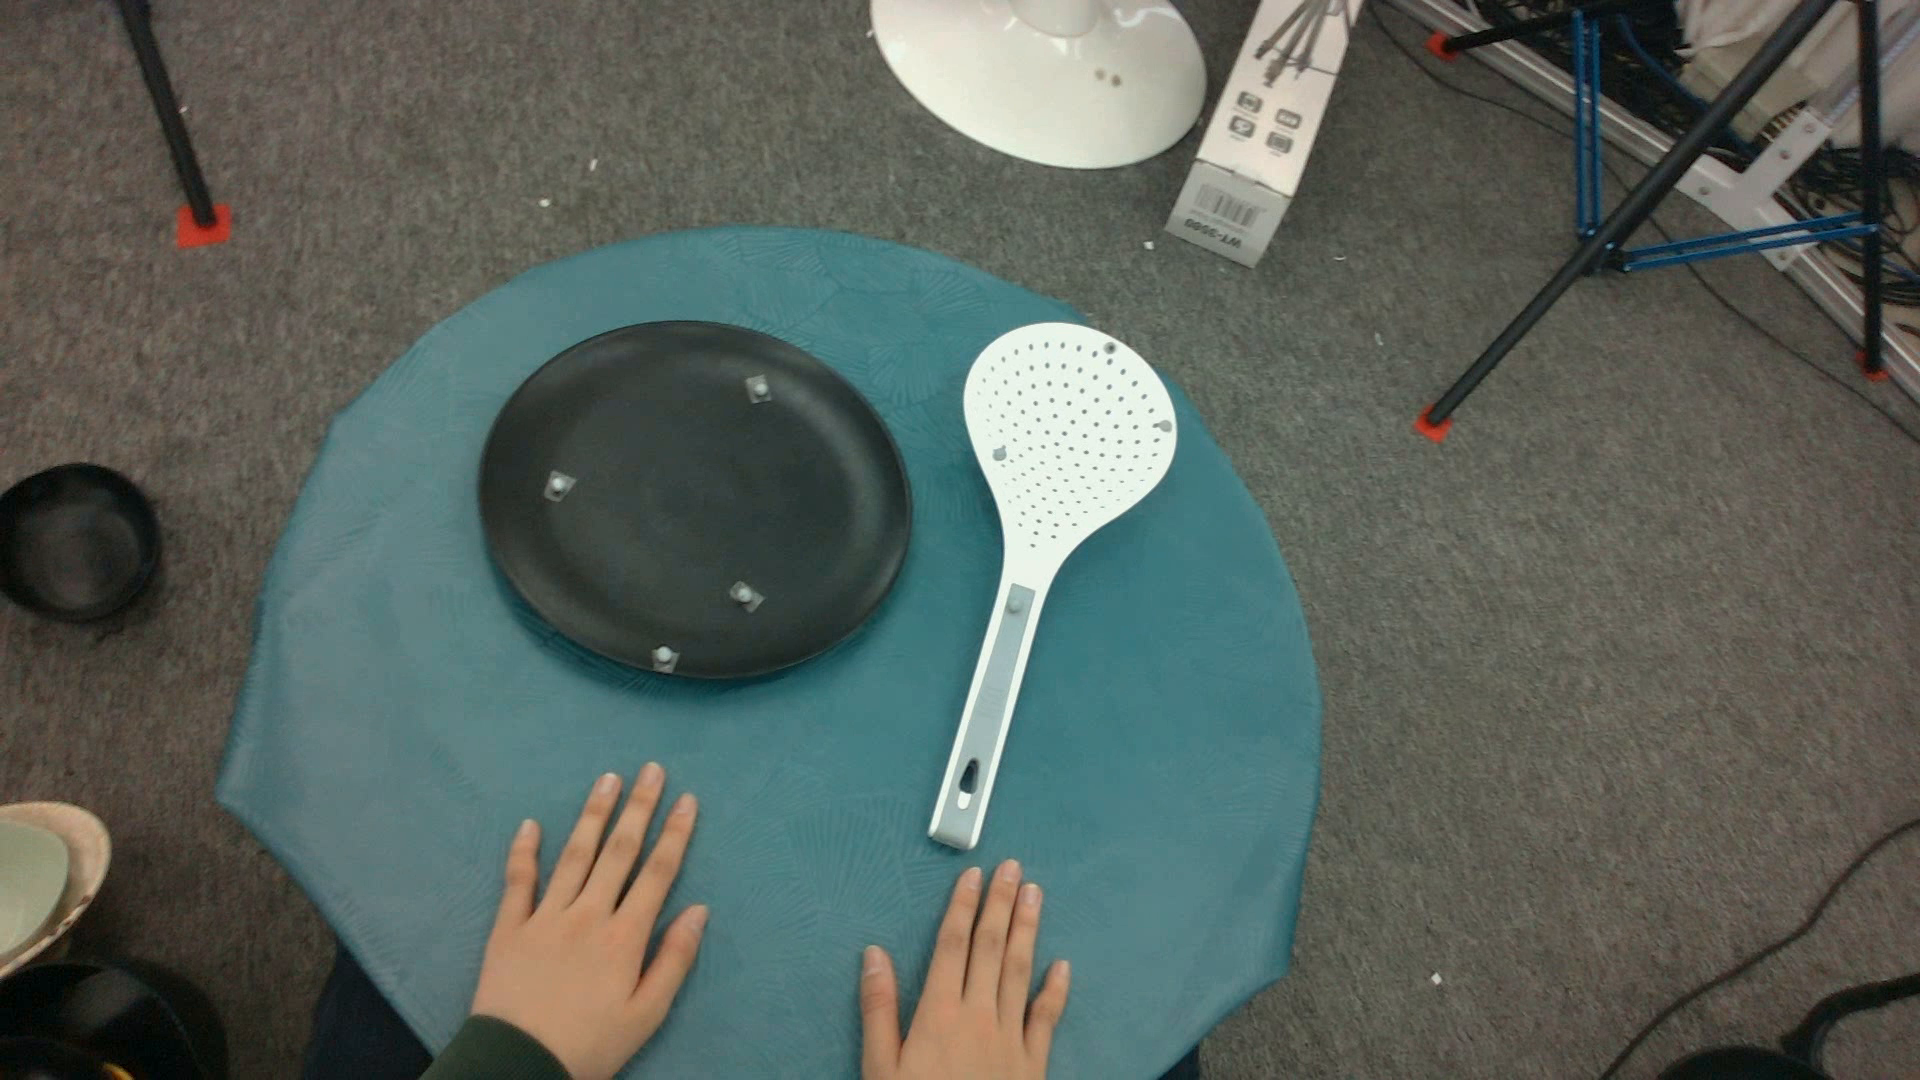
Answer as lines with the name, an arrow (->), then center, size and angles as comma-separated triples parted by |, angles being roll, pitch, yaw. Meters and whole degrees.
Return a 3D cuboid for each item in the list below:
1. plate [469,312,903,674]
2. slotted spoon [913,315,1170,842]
plate -> -0.154, -0.030, 0.795 | 0.244, 0.023, 0.245 | 7, 58, -12
slotted spoon -> 0.035, 0.010, 0.813 | 0.136, 0.045, 0.351 | 19, 57, -2
